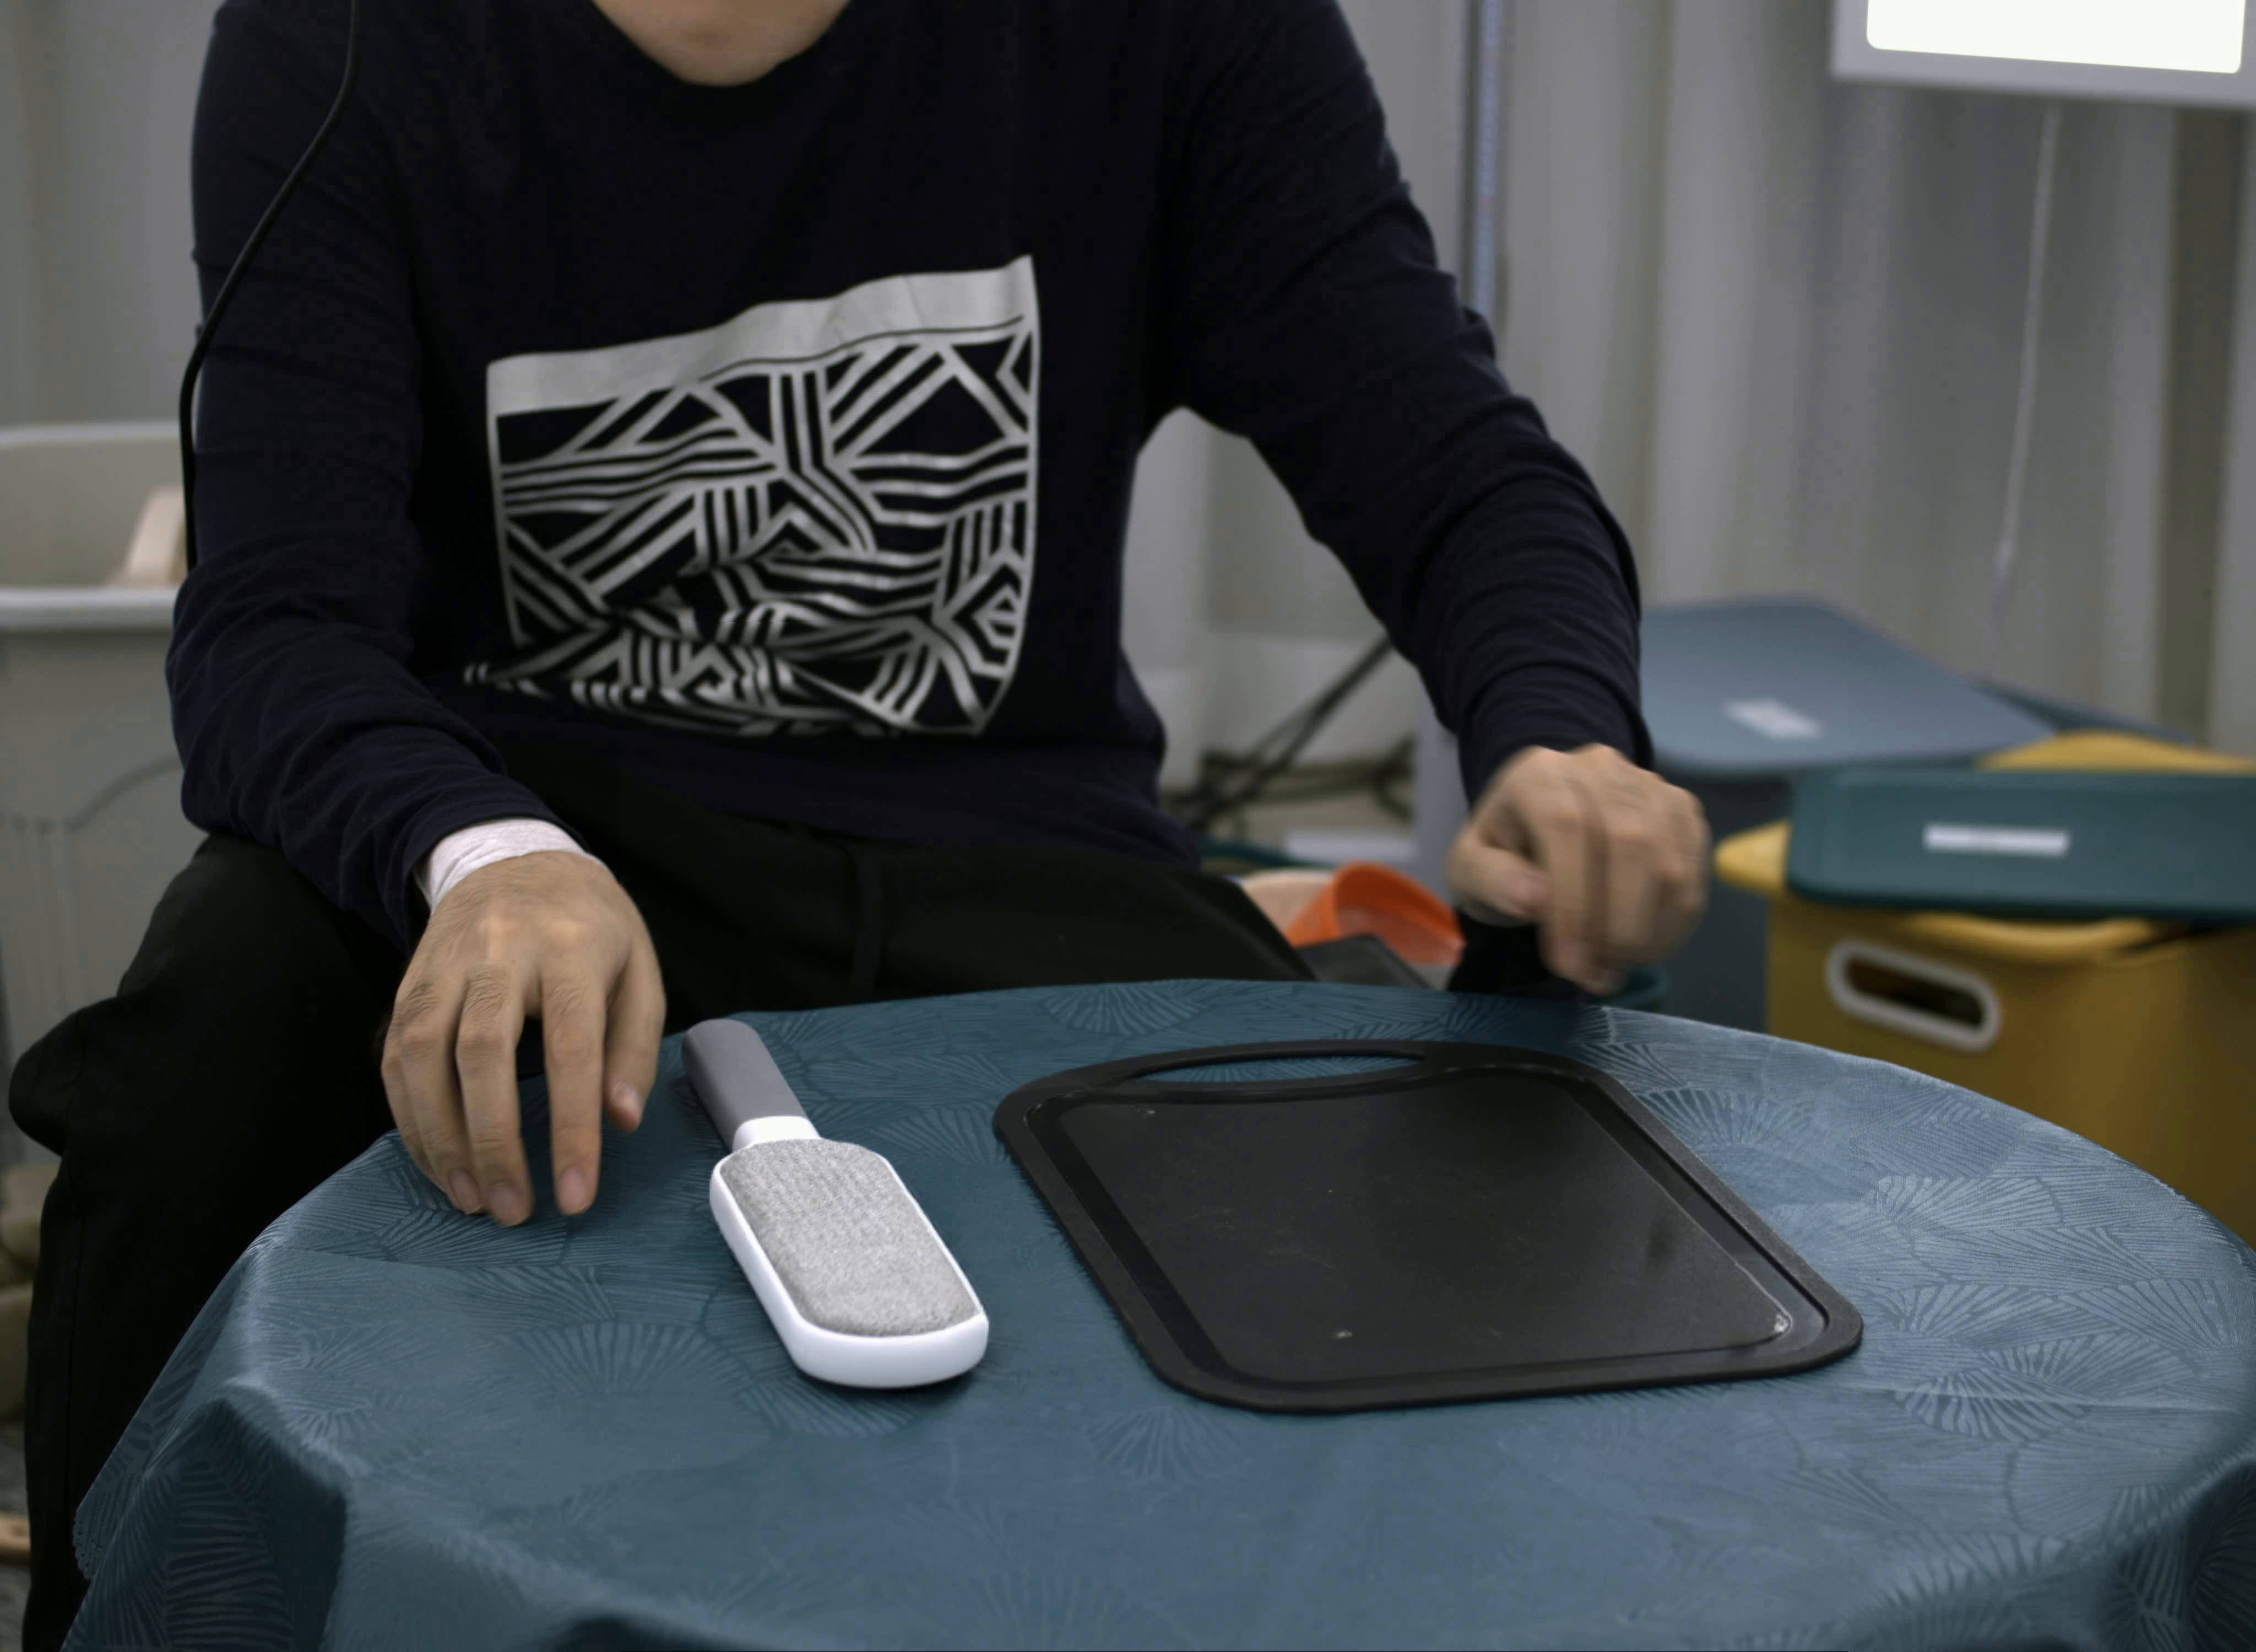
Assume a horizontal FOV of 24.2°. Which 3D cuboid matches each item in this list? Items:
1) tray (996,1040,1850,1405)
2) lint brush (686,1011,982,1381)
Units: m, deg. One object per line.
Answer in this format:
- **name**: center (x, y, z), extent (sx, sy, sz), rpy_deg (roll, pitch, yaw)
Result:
- **tray**: center (0.080, 0.114, 1.612), extent (0.211, 0.010, 0.322), rpy_deg (-3, 15, -12)
- **lint brush**: center (-0.097, 0.107, 1.590), extent (0.060, 0.021, 0.306), rpy_deg (-8, 17, -12)
